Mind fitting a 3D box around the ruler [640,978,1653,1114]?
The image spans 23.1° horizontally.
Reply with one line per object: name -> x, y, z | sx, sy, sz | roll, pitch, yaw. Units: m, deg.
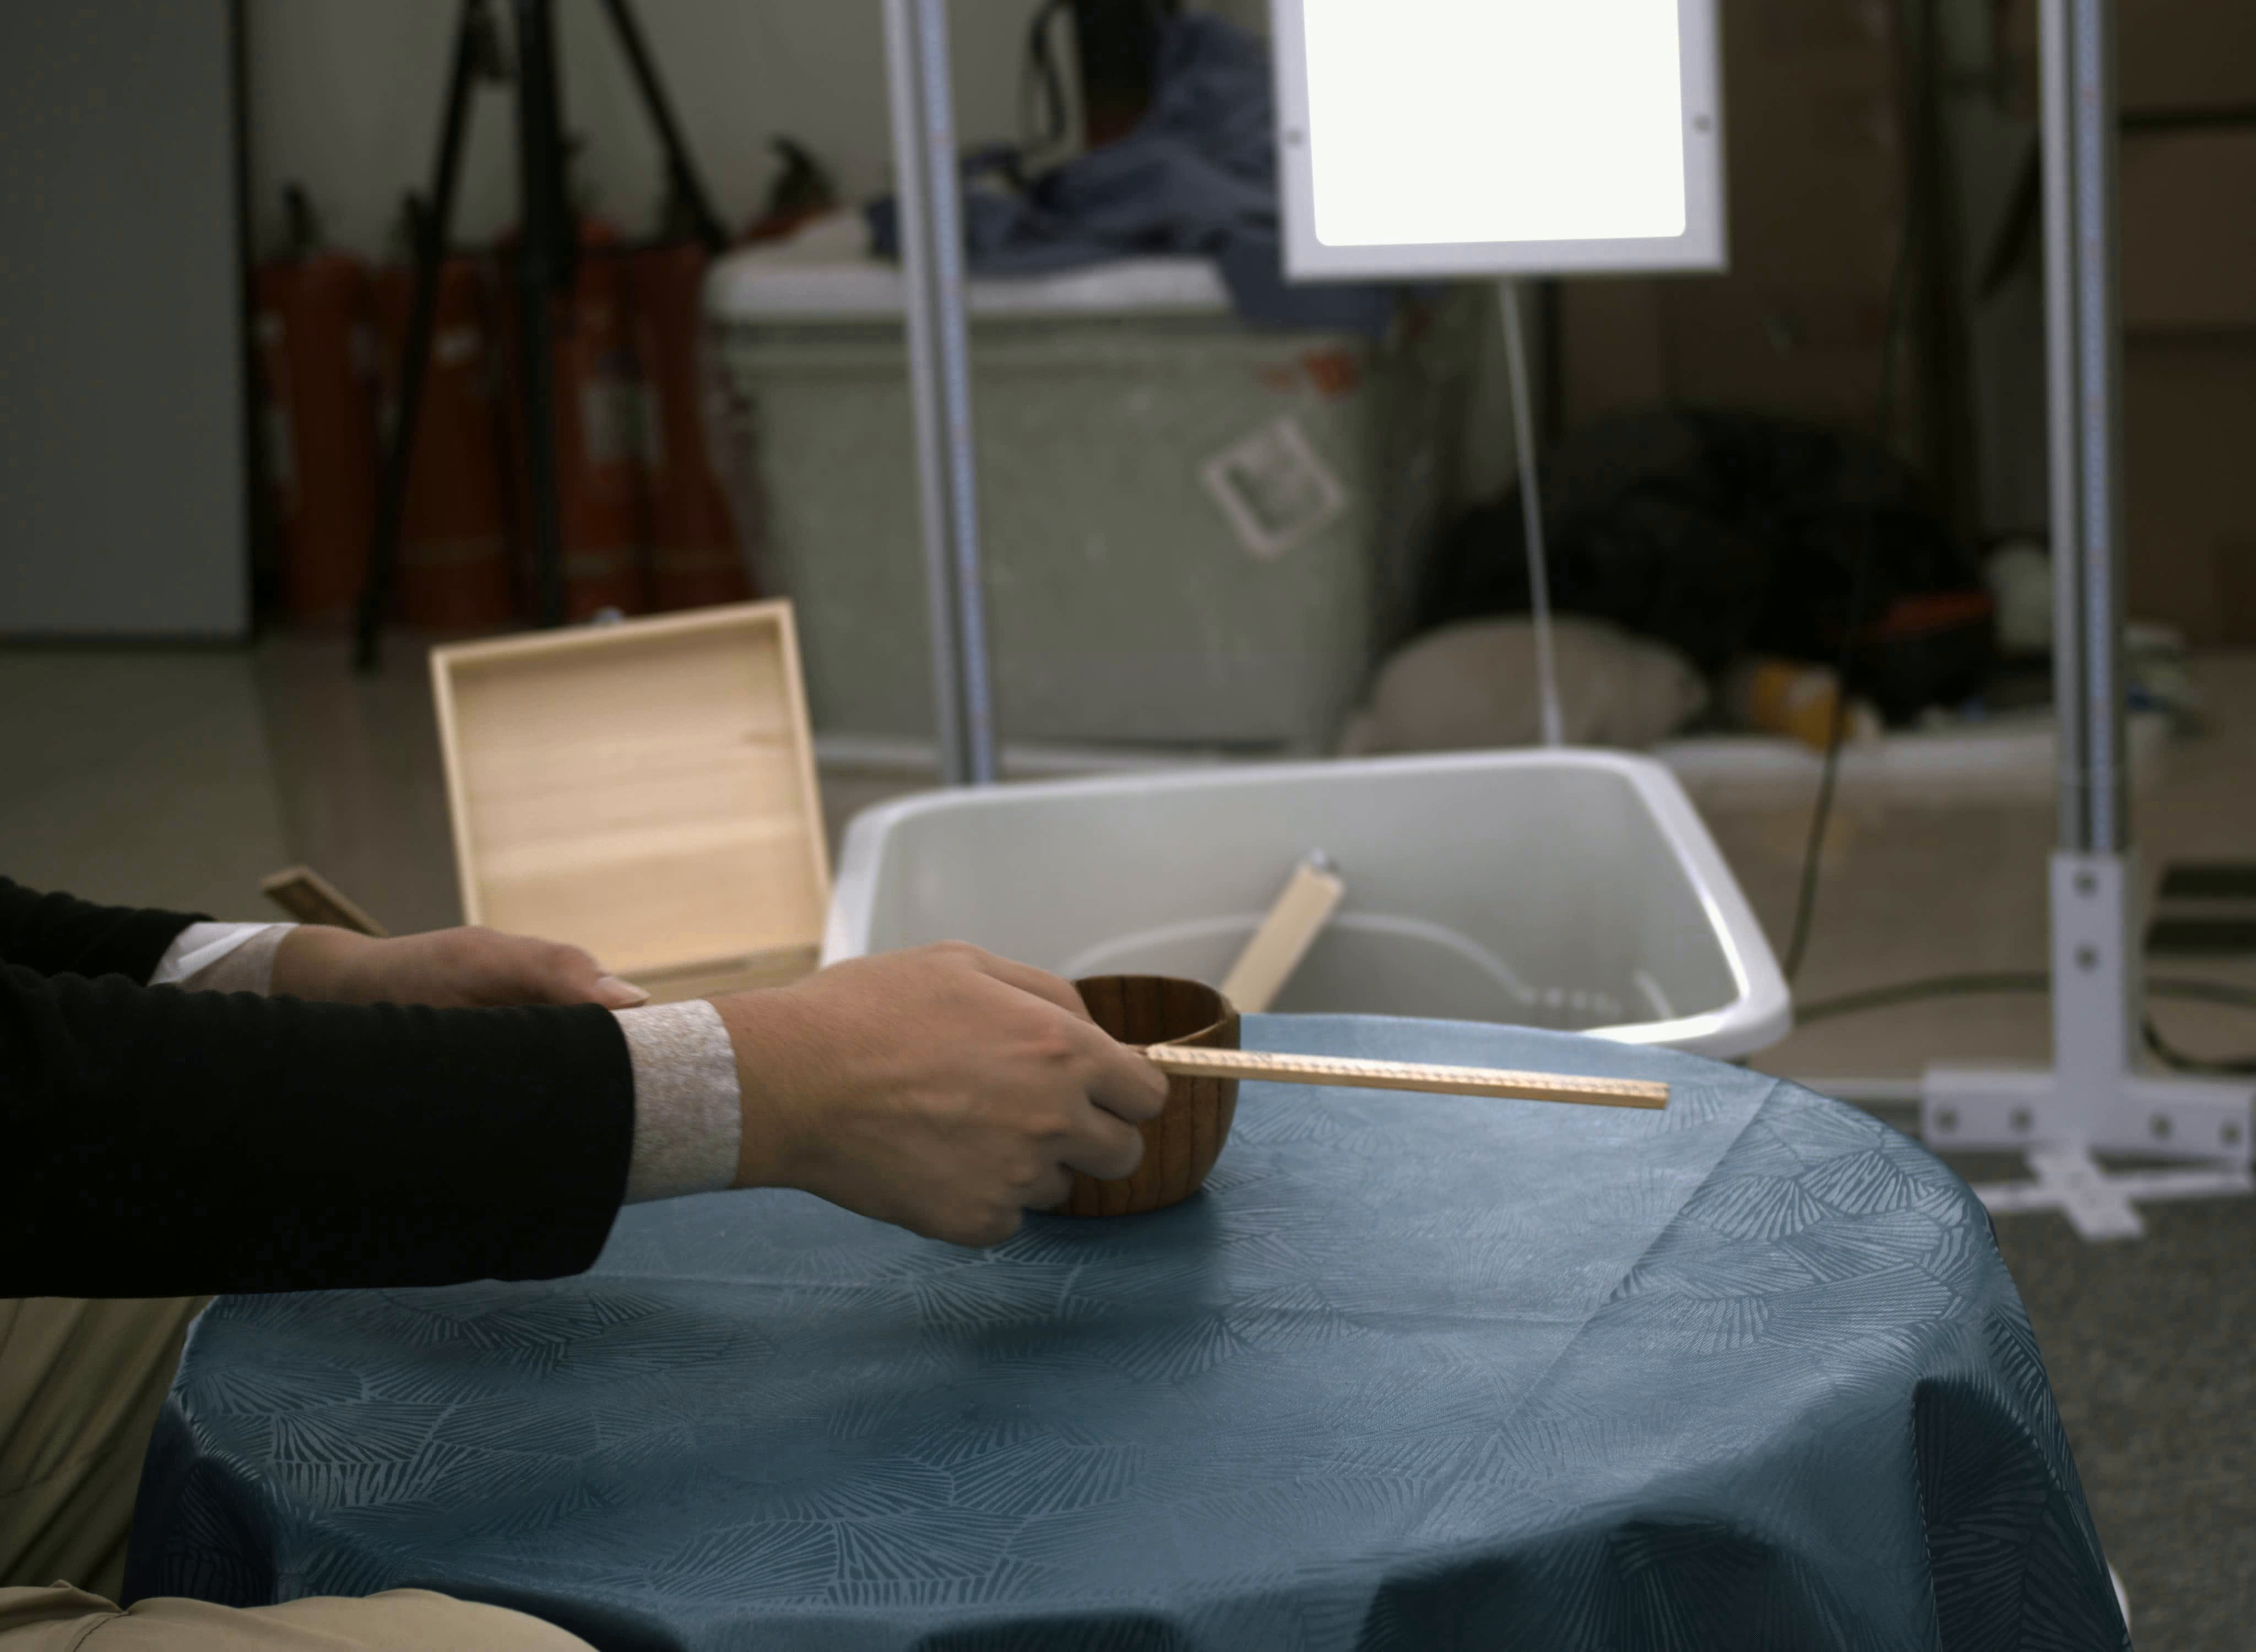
ruler -> 0.005, 0.070, 1.783 | 0.334, 0.022, 0.027 | 5, 6, 12

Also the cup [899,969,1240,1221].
cup -> -0.019, 0.096, 1.895 | 0.119, 0.068, 0.096 | -7, 16, -5
